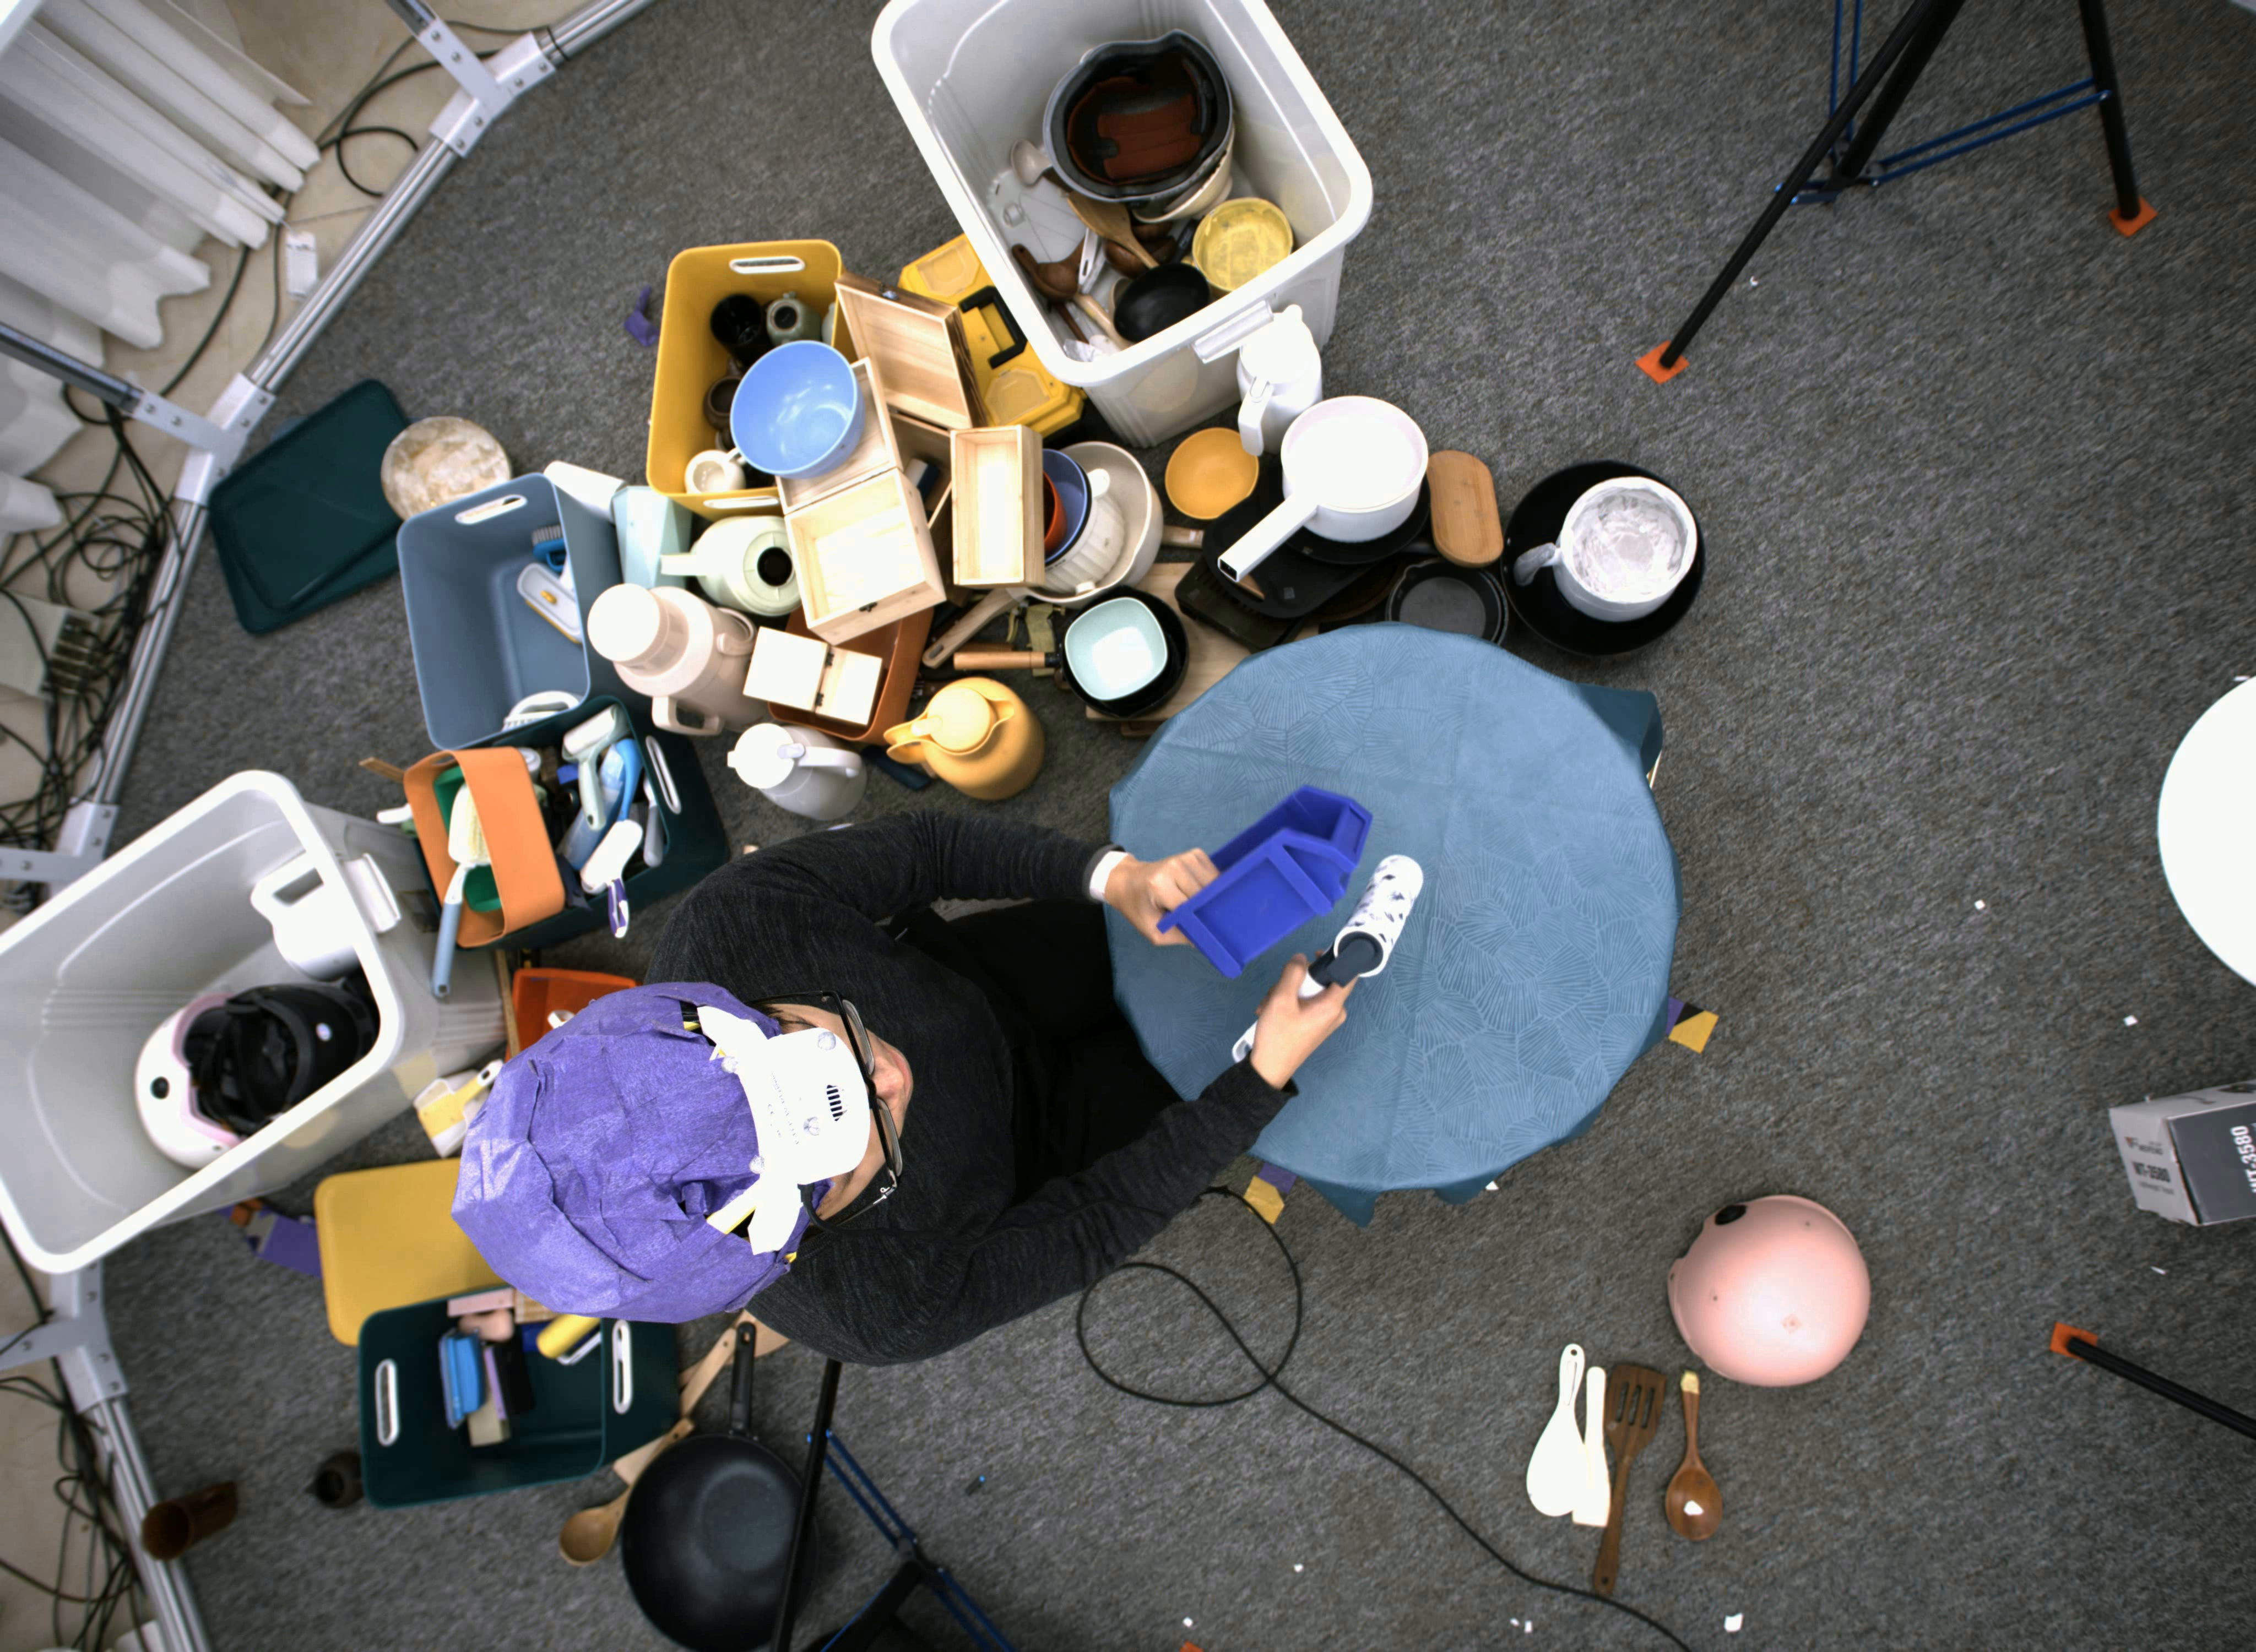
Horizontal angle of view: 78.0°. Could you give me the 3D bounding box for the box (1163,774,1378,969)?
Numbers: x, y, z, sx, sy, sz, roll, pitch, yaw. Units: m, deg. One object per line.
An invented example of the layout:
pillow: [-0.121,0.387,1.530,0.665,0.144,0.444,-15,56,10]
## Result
box: [0.134,0.035,1.232,0.082,0.122,0.183,46,119,-5]

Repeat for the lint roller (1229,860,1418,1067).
lint roller: [0.178,0.151,1.311,0.050,0.172,0.253,37,123,4]
